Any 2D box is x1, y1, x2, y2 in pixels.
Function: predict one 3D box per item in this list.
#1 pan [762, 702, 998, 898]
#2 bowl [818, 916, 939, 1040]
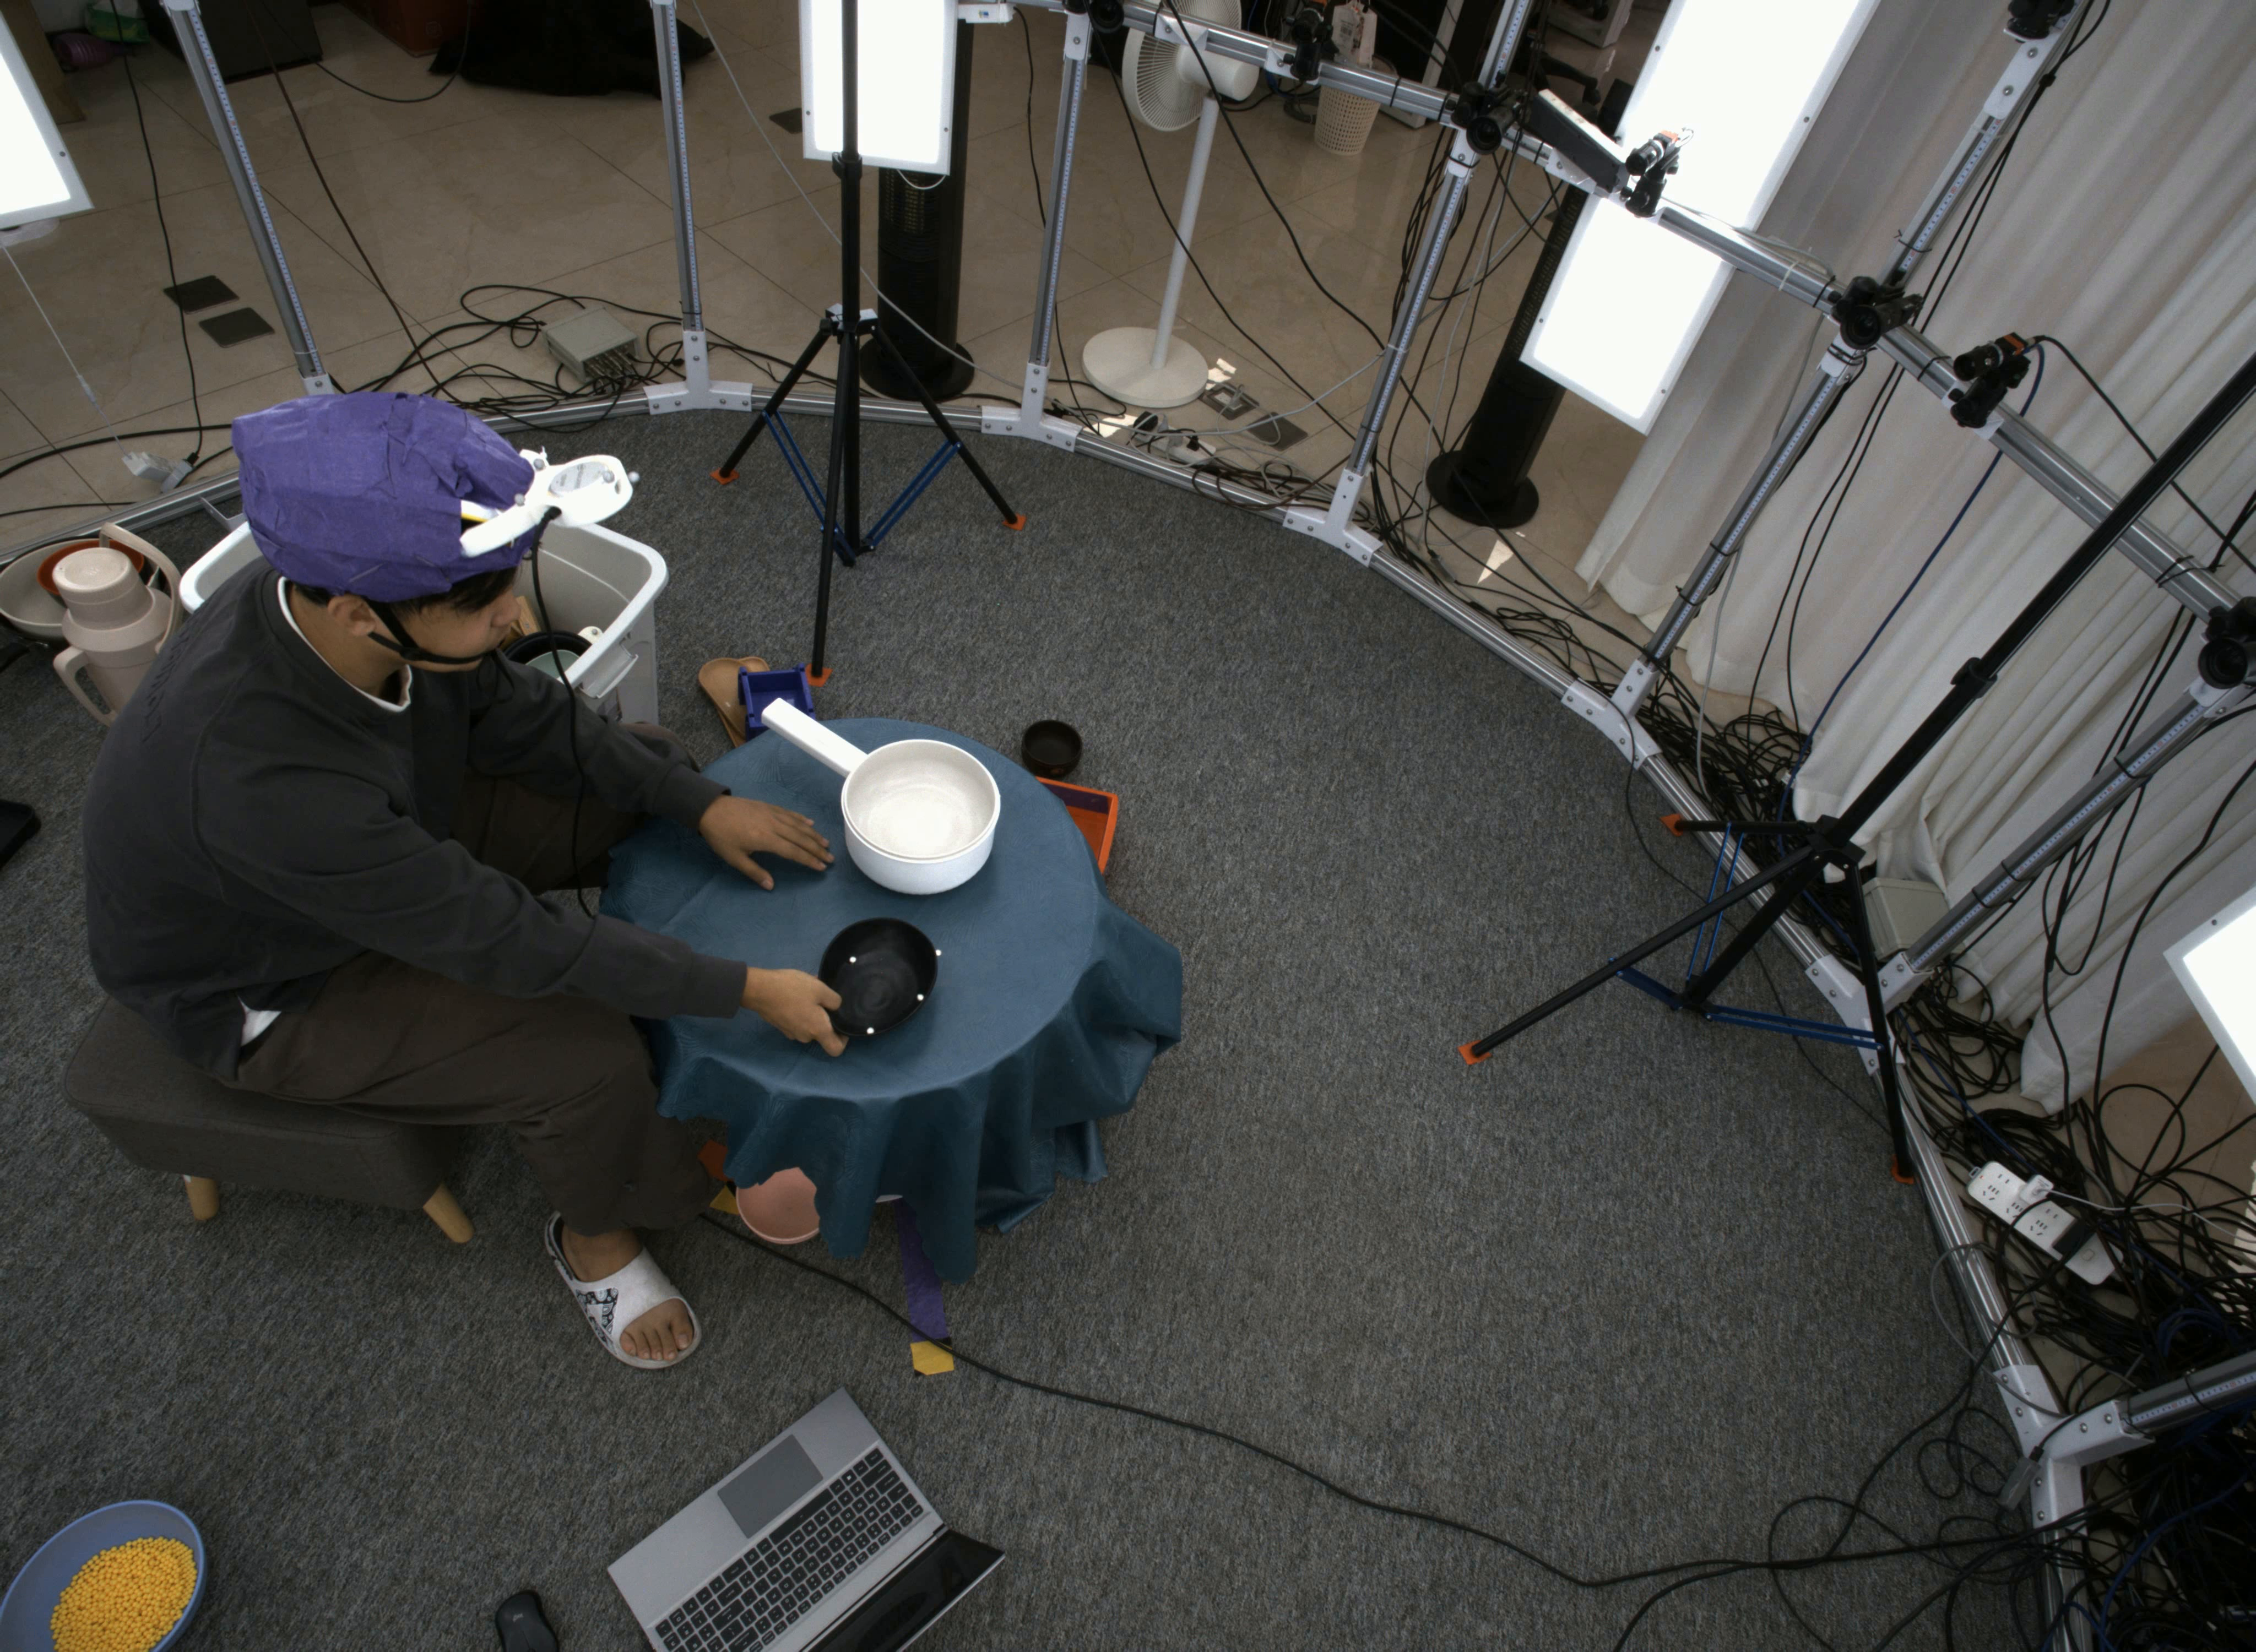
[{"bbox_3d":[-0.335,-0.041,1.720,0.348,0.104,0.201,30,56,12],"label":"pan"},{"bbox_3d":[-0.301,0.191,1.565,0.136,0.068,0.168,19,51,0],"label":"bowl"}]
